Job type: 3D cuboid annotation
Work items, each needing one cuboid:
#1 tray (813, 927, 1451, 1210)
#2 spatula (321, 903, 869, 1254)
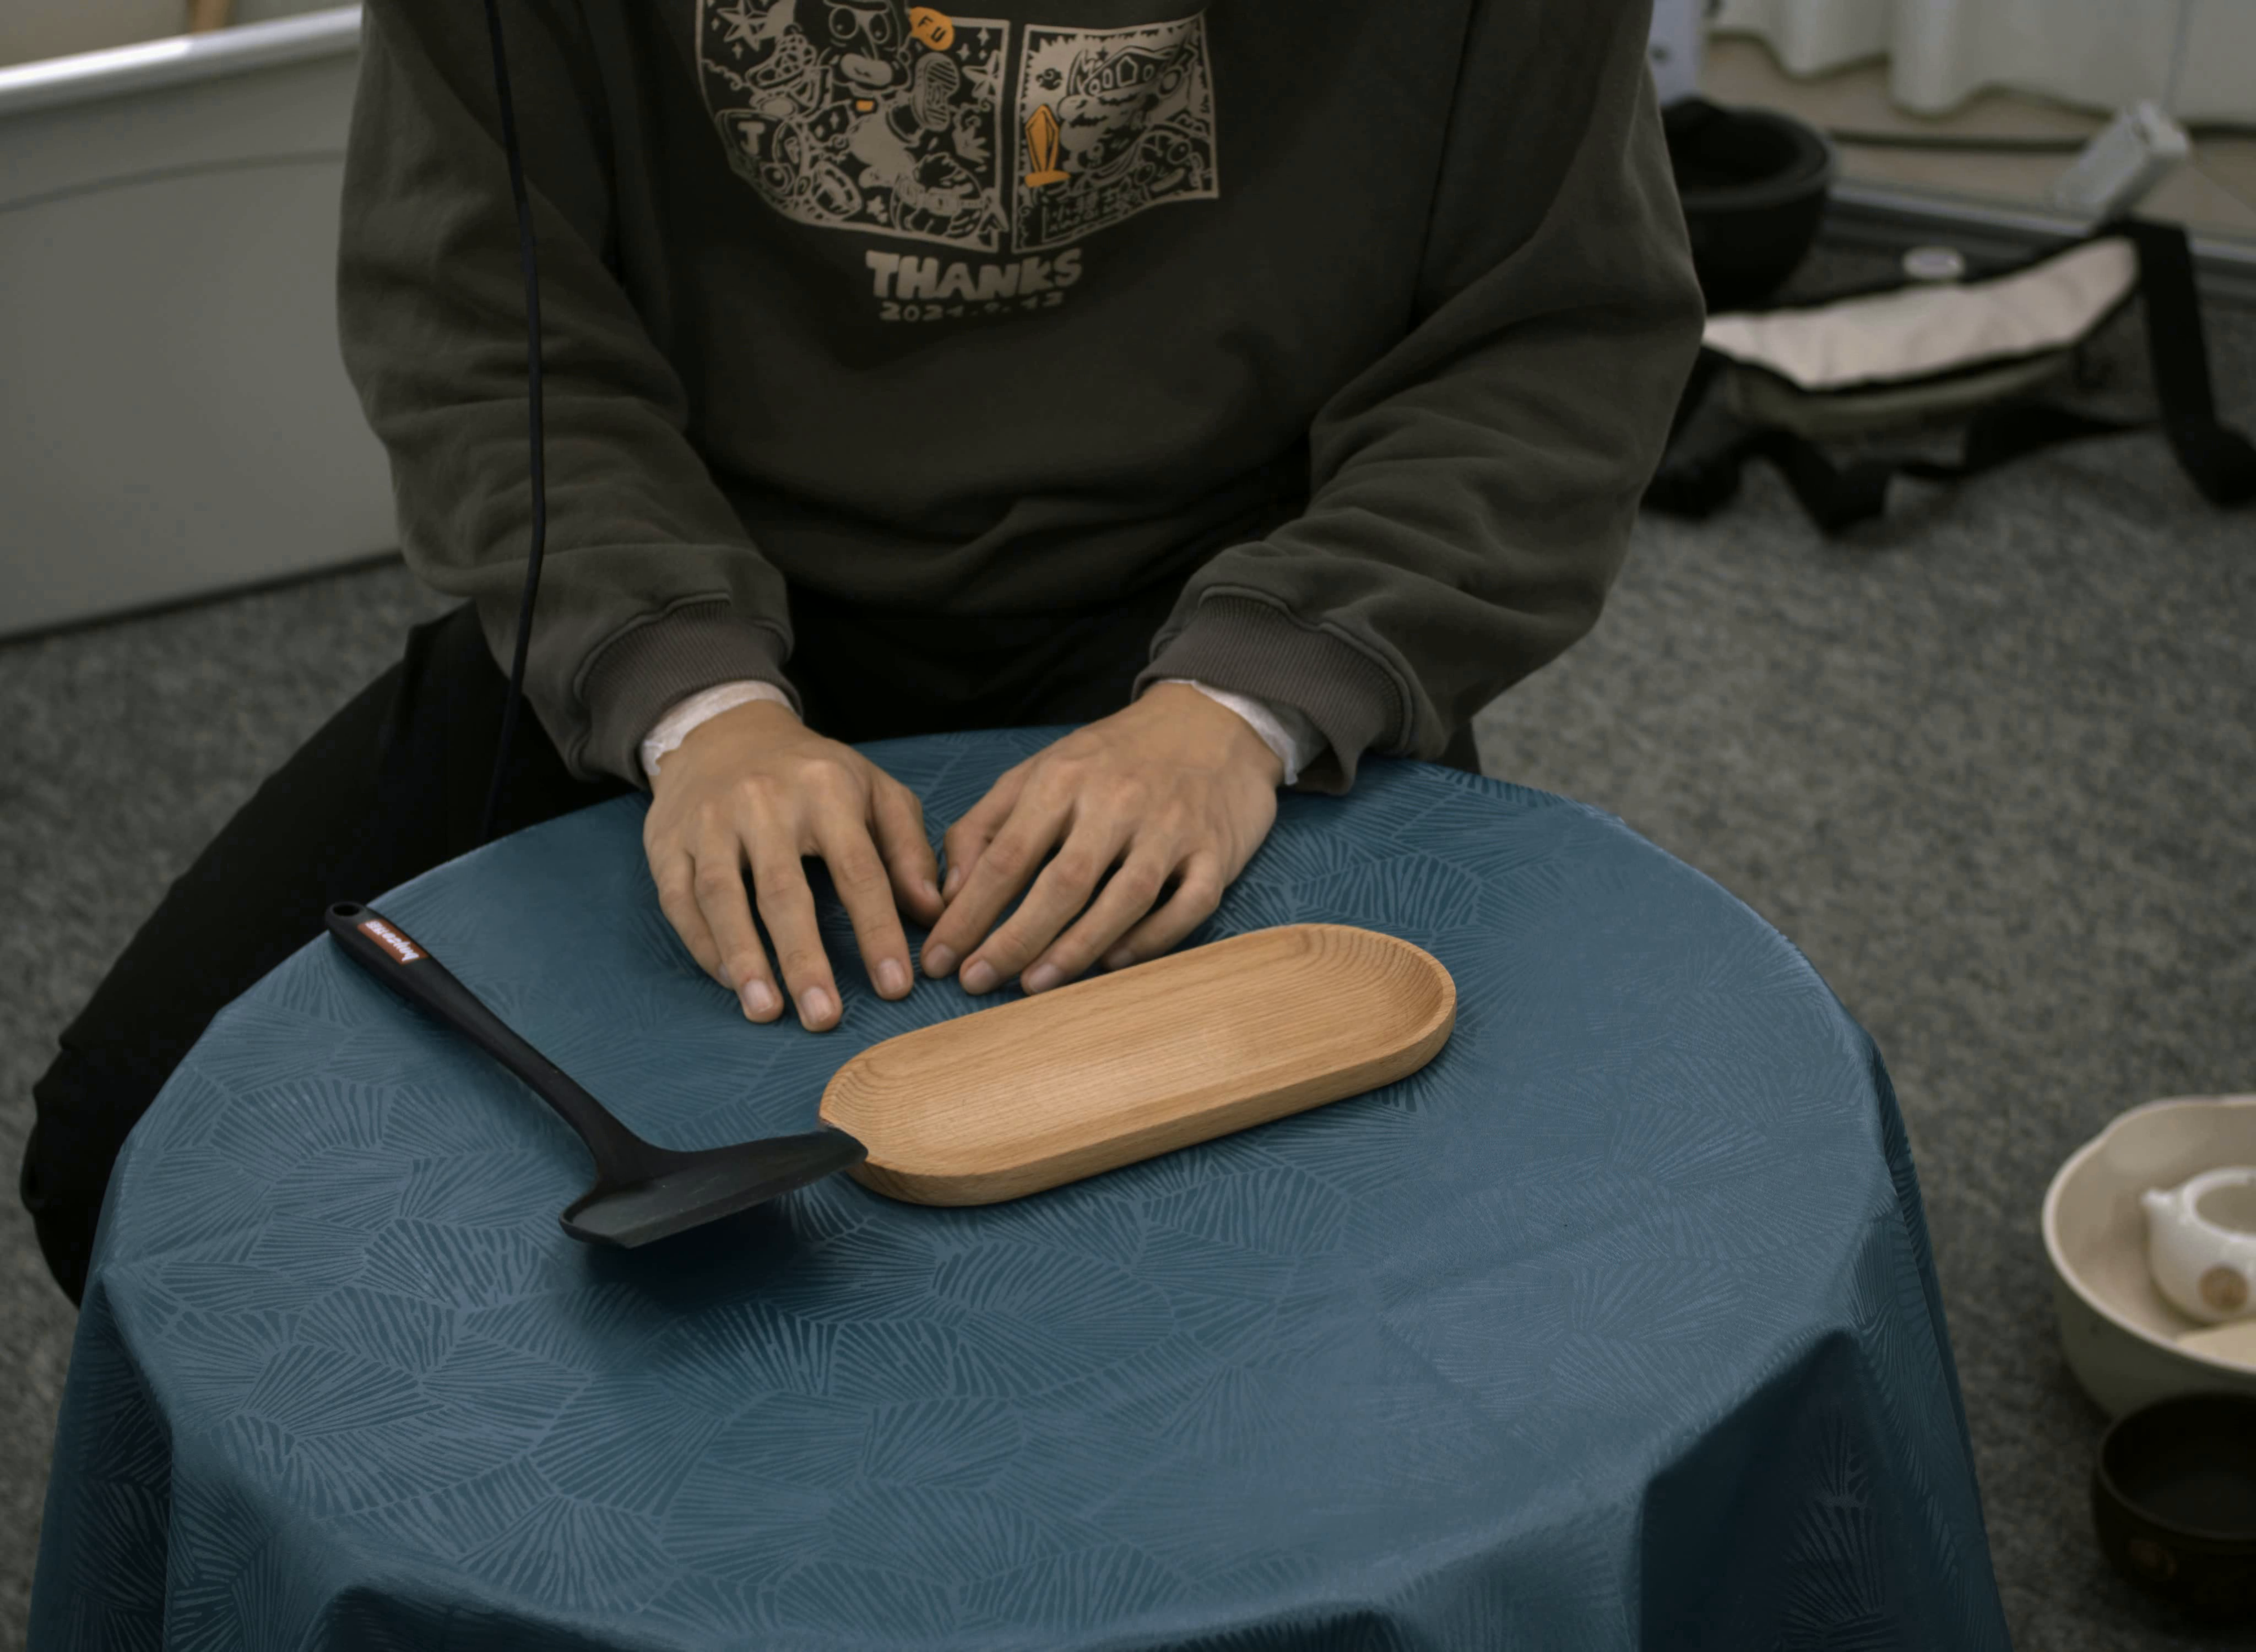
[{"bbox_3d":[0.003,0.083,1.918,0.232,0.020,0.102,-17,30,-22],"label":"tray"},{"bbox_3d":[-0.205,0.079,1.924,0.100,0.040,0.327,-17,31,-28],"label":"spatula"}]
